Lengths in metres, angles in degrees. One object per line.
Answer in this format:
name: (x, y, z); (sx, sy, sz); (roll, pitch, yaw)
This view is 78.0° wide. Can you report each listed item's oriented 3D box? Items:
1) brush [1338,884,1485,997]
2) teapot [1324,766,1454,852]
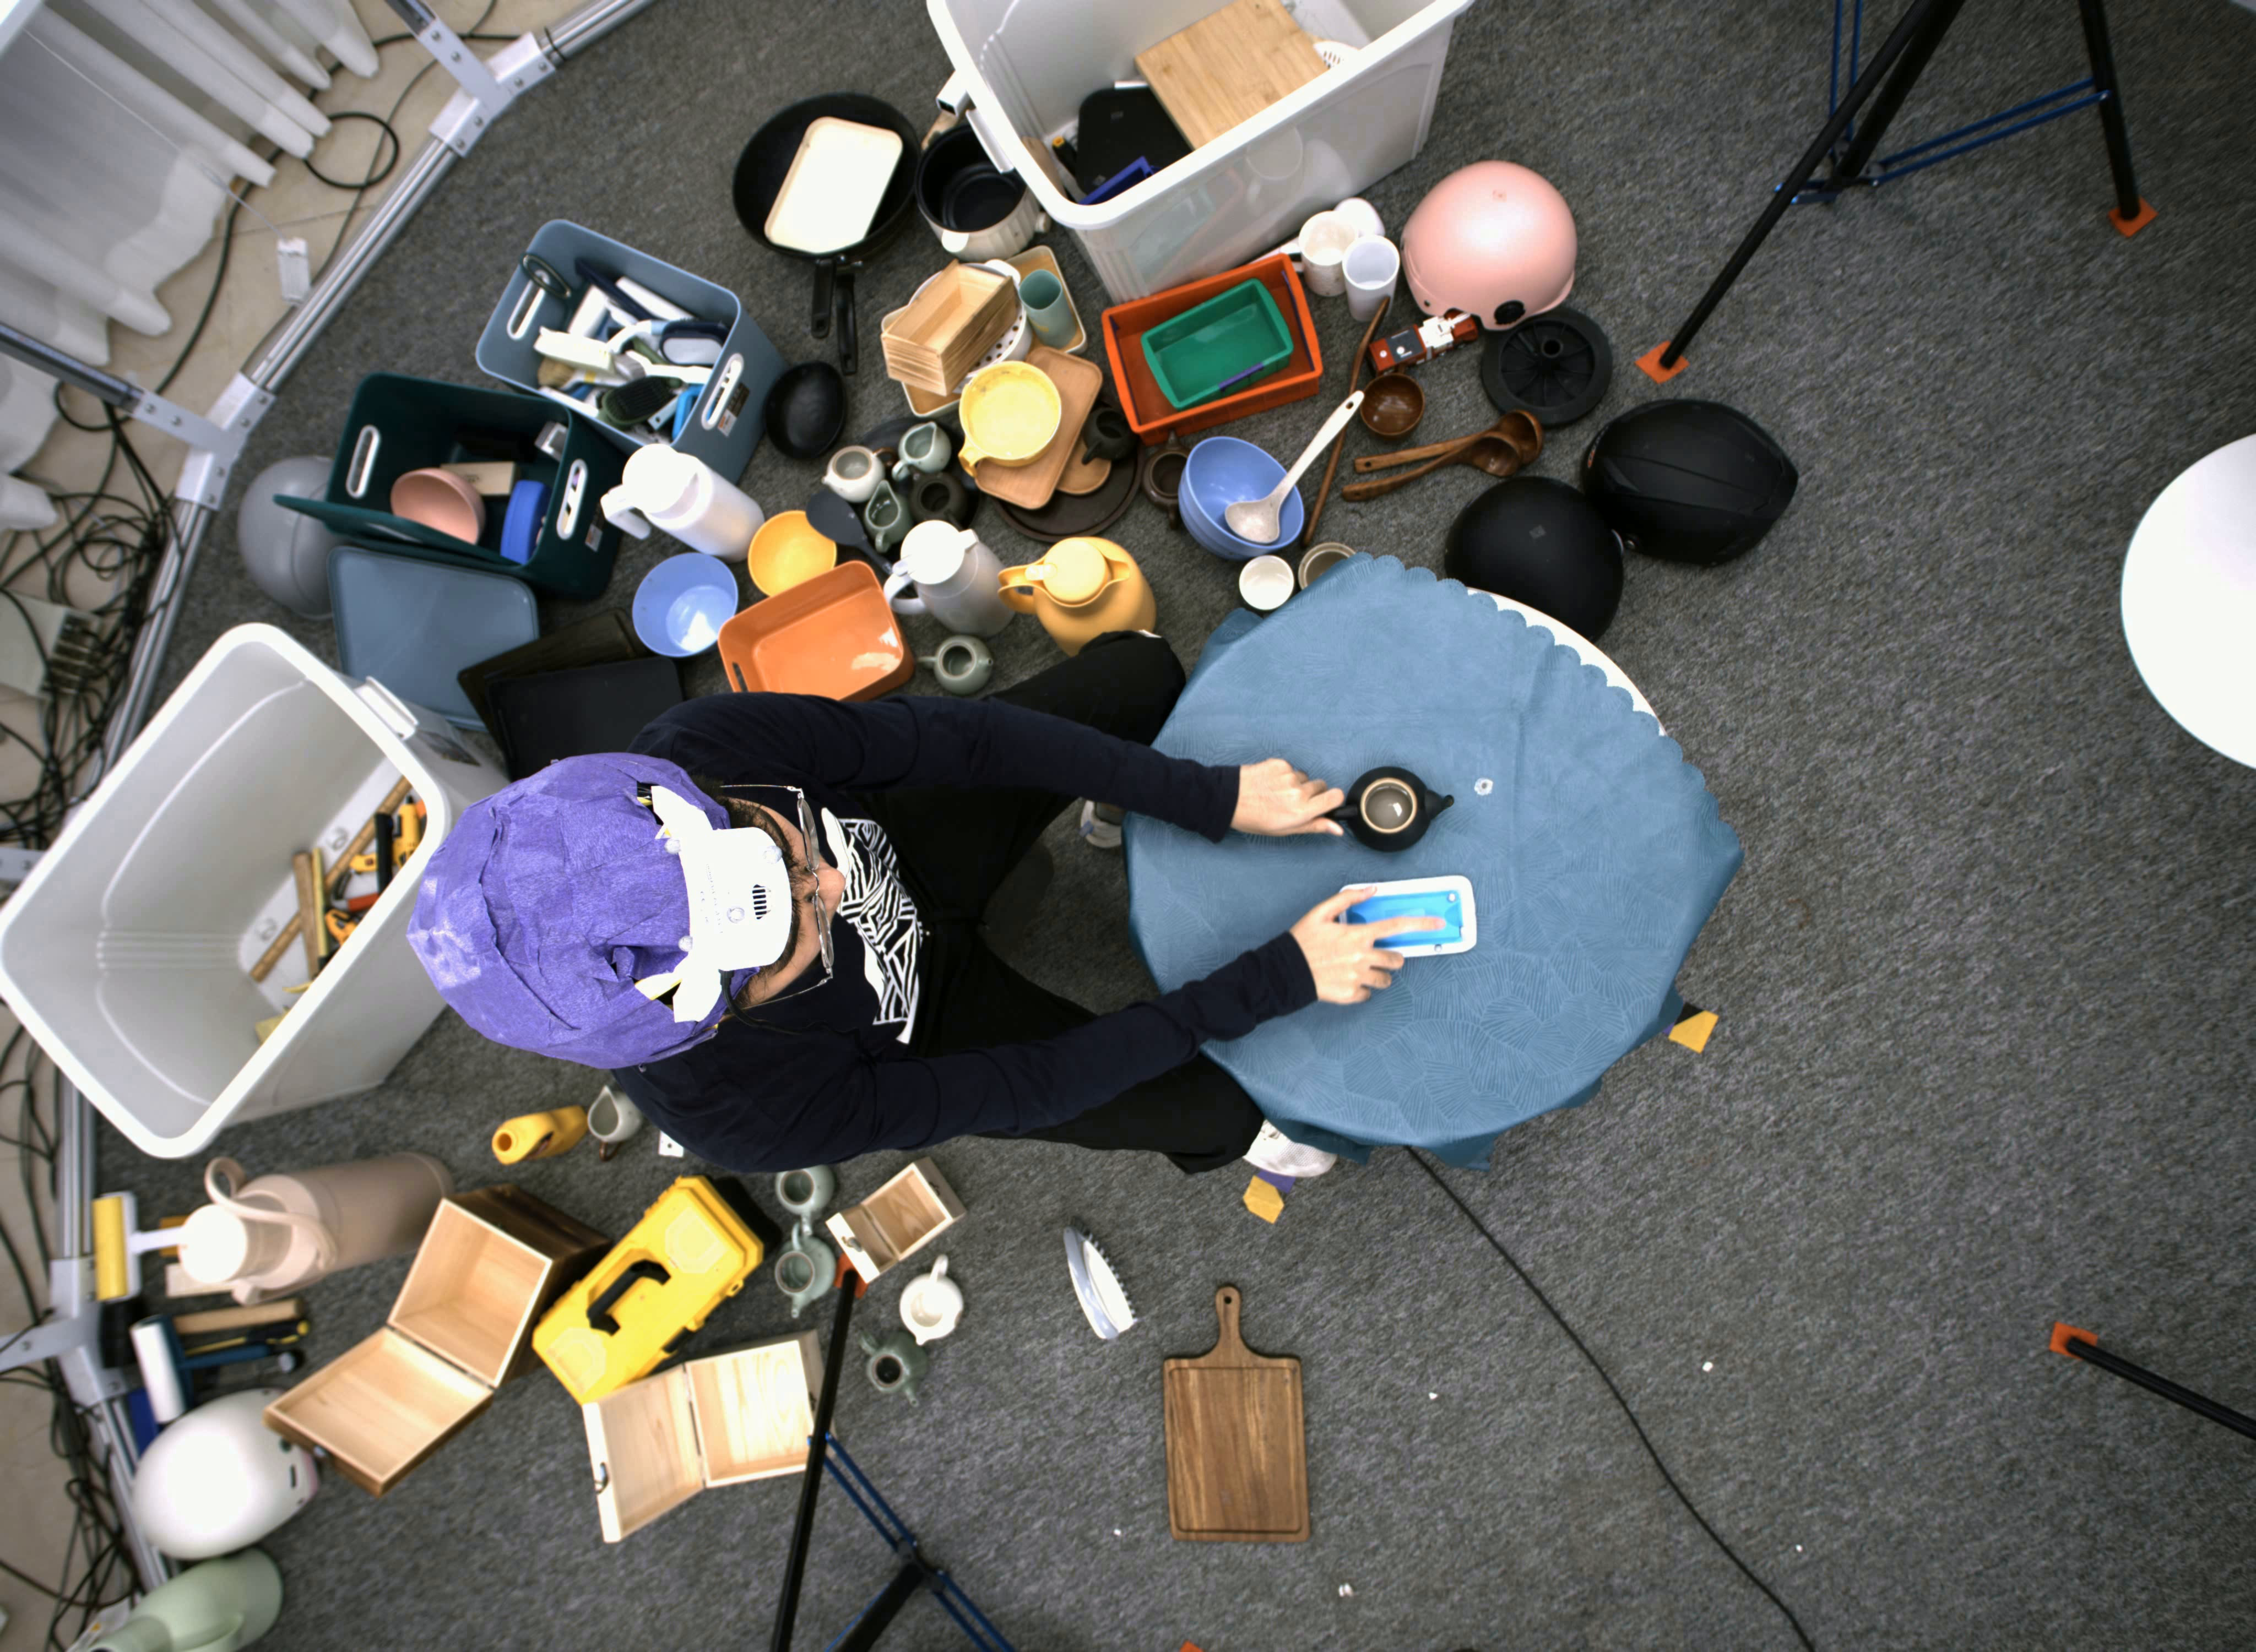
brush: (0.290, 0.110, 1.406); (0.143, 0.057, 0.083); (-23, 72, -5)
teapot: (0.271, -0.020, 1.435); (0.134, 0.053, 0.090); (-6, 84, 9)
